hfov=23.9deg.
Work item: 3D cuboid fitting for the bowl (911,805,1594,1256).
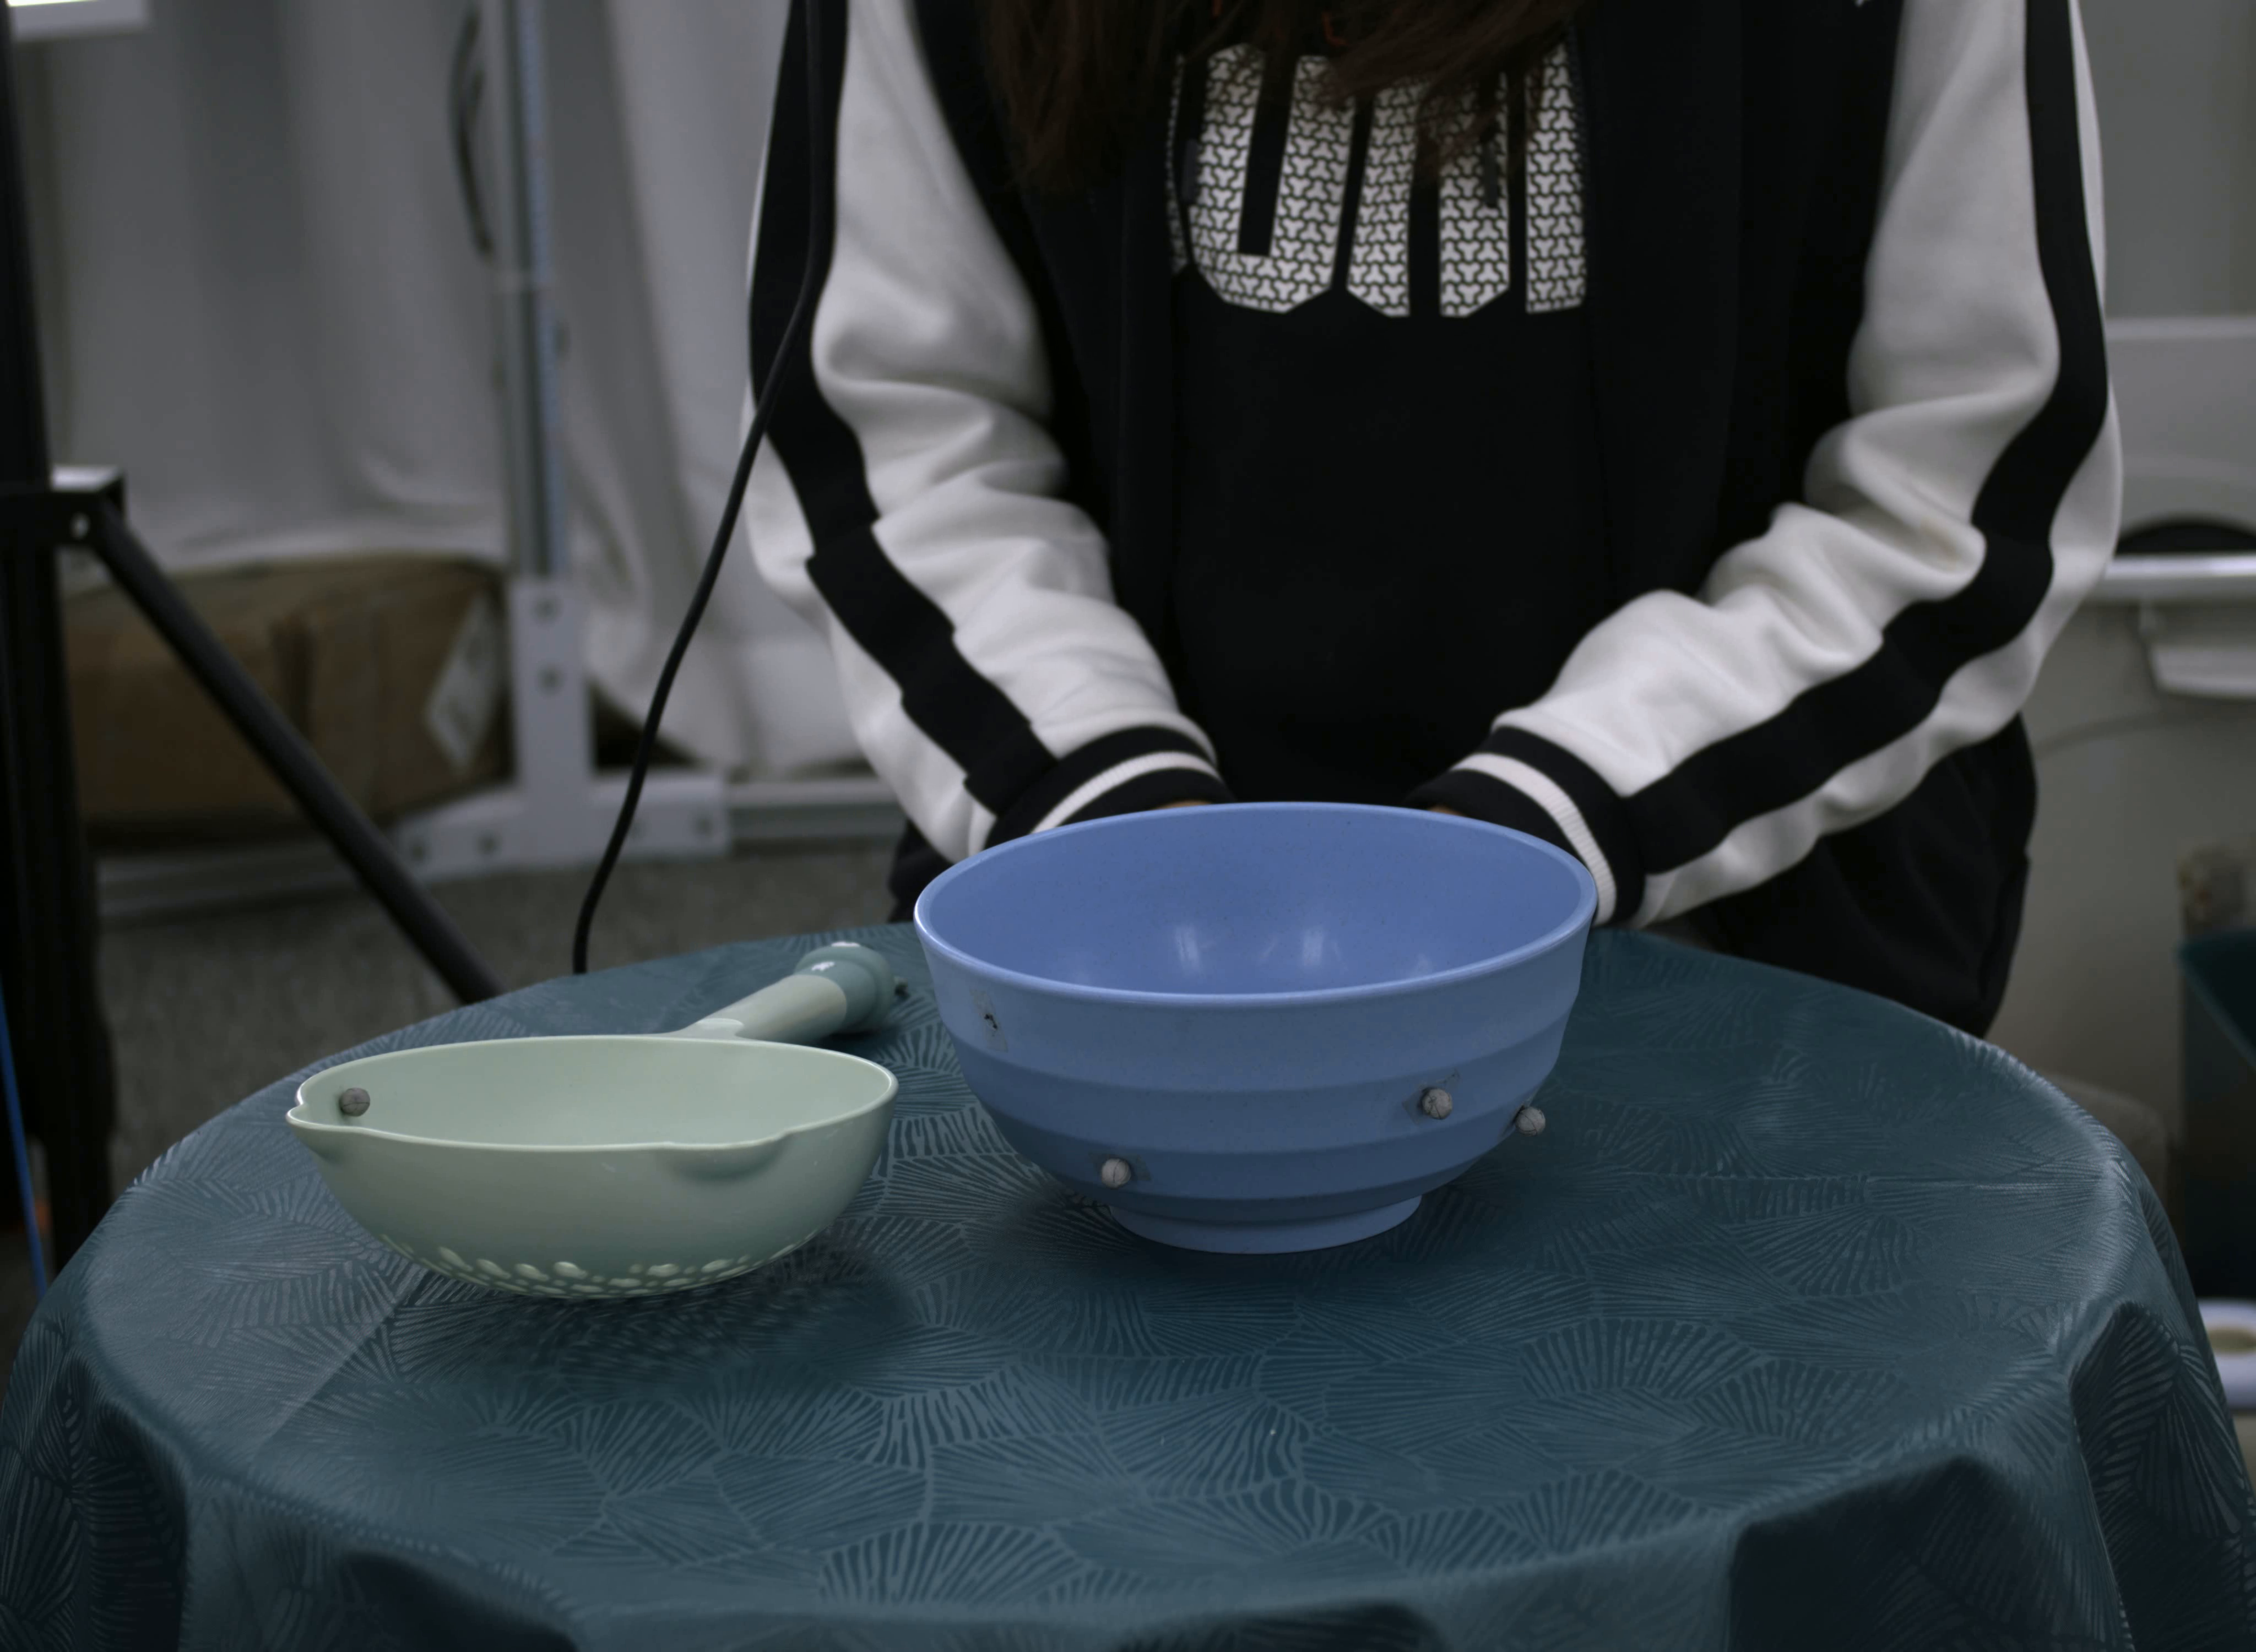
[{"bbox_3d":[0.037,0.064,1.532,0.195,0.095,0.197,-3,15,-1],"label":"bowl"}]

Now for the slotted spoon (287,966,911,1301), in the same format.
[{"bbox_3d":[-0.124,0.076,1.587,0.170,0.075,0.356,3,15,15],"label":"slotted spoon"}]
